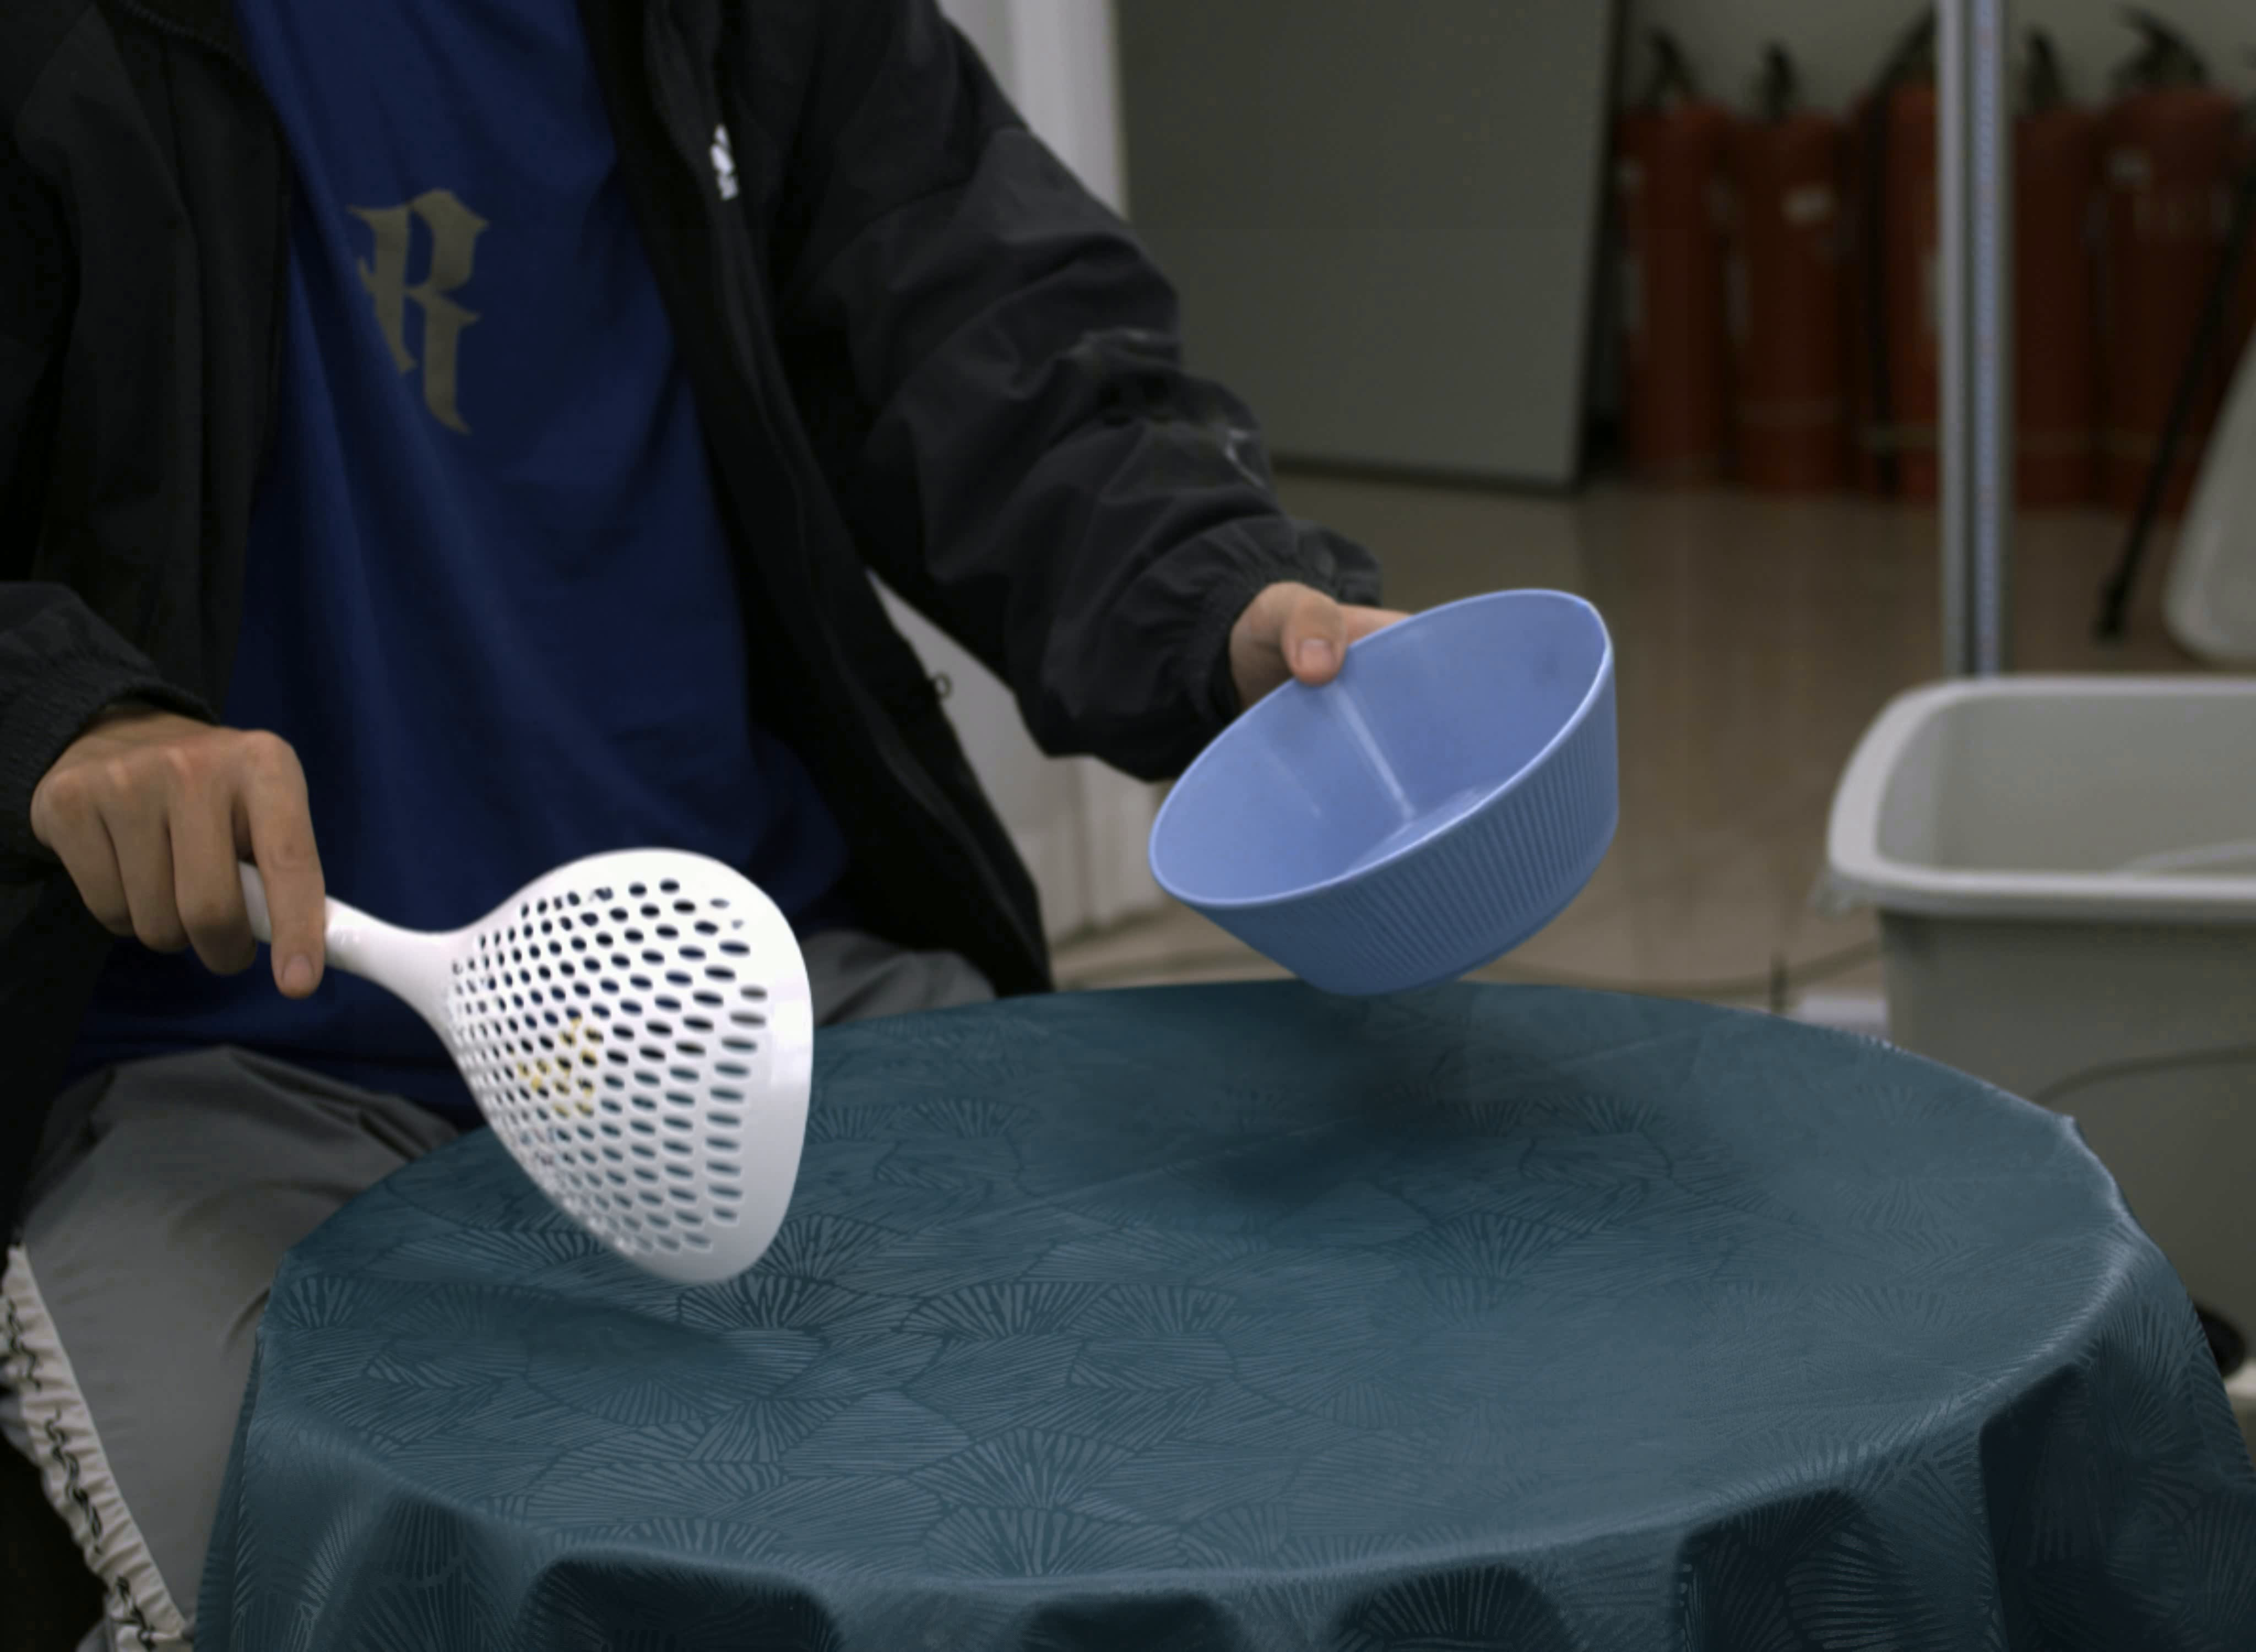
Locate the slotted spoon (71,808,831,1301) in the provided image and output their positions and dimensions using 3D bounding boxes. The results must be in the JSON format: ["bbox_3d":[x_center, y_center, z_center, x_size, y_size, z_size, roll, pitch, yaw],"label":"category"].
[{"bbox_3d":[-0.225,0.051,1.742,0.049,0.138,0.351,-4,17,-43],"label":"slotted spoon"}]

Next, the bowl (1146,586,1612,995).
[{"bbox_3d":[0.097,-0.003,1.814,0.175,0.070,0.177,-28,22,11],"label":"bowl"}]
